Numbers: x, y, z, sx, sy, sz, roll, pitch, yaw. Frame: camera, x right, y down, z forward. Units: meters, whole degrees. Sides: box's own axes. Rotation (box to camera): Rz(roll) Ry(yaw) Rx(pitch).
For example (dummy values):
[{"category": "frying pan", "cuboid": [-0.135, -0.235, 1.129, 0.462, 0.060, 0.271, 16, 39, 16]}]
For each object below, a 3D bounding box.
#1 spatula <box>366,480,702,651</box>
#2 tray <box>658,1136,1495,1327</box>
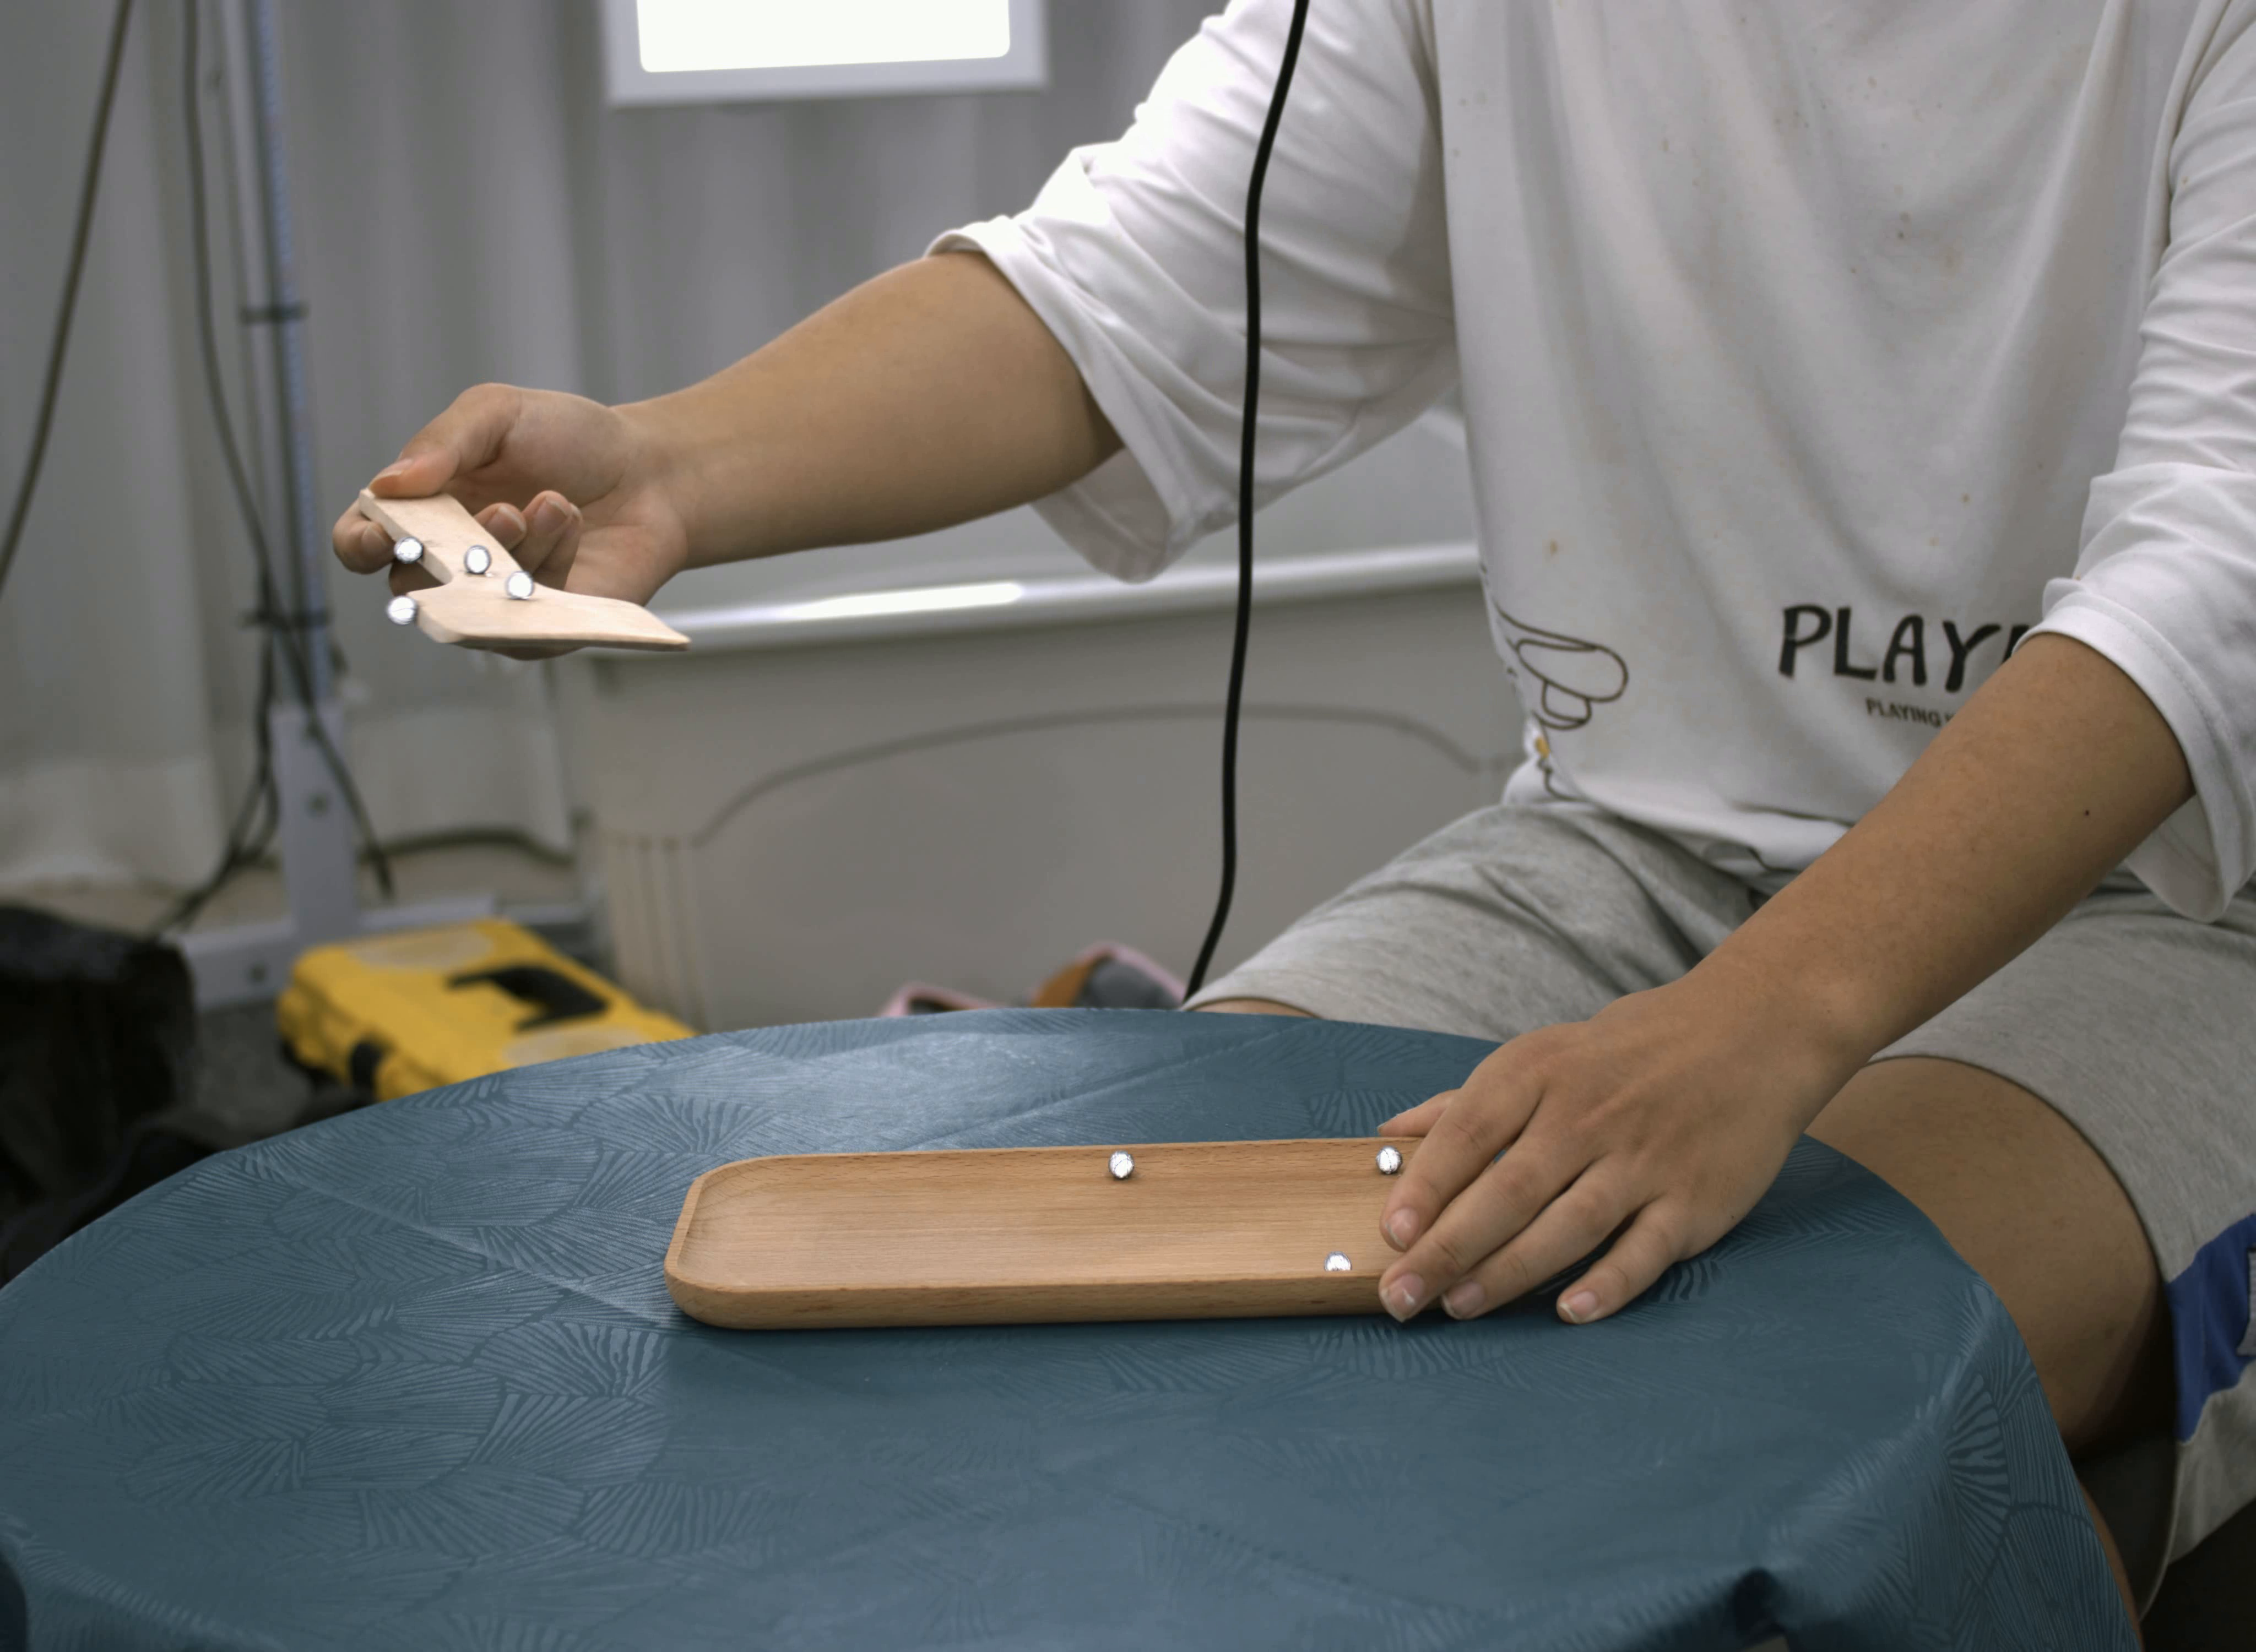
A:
[{"category": "spatula", "cuboid": [-0.198, -0.081, 1.686, 0.072, 0.010, 0.295, 1, 12, -18]}, {"category": "tray", "cuboid": [-0.014, 0.123, 1.659, 0.250, 0.023, 0.131, -2, 12, 4]}]
